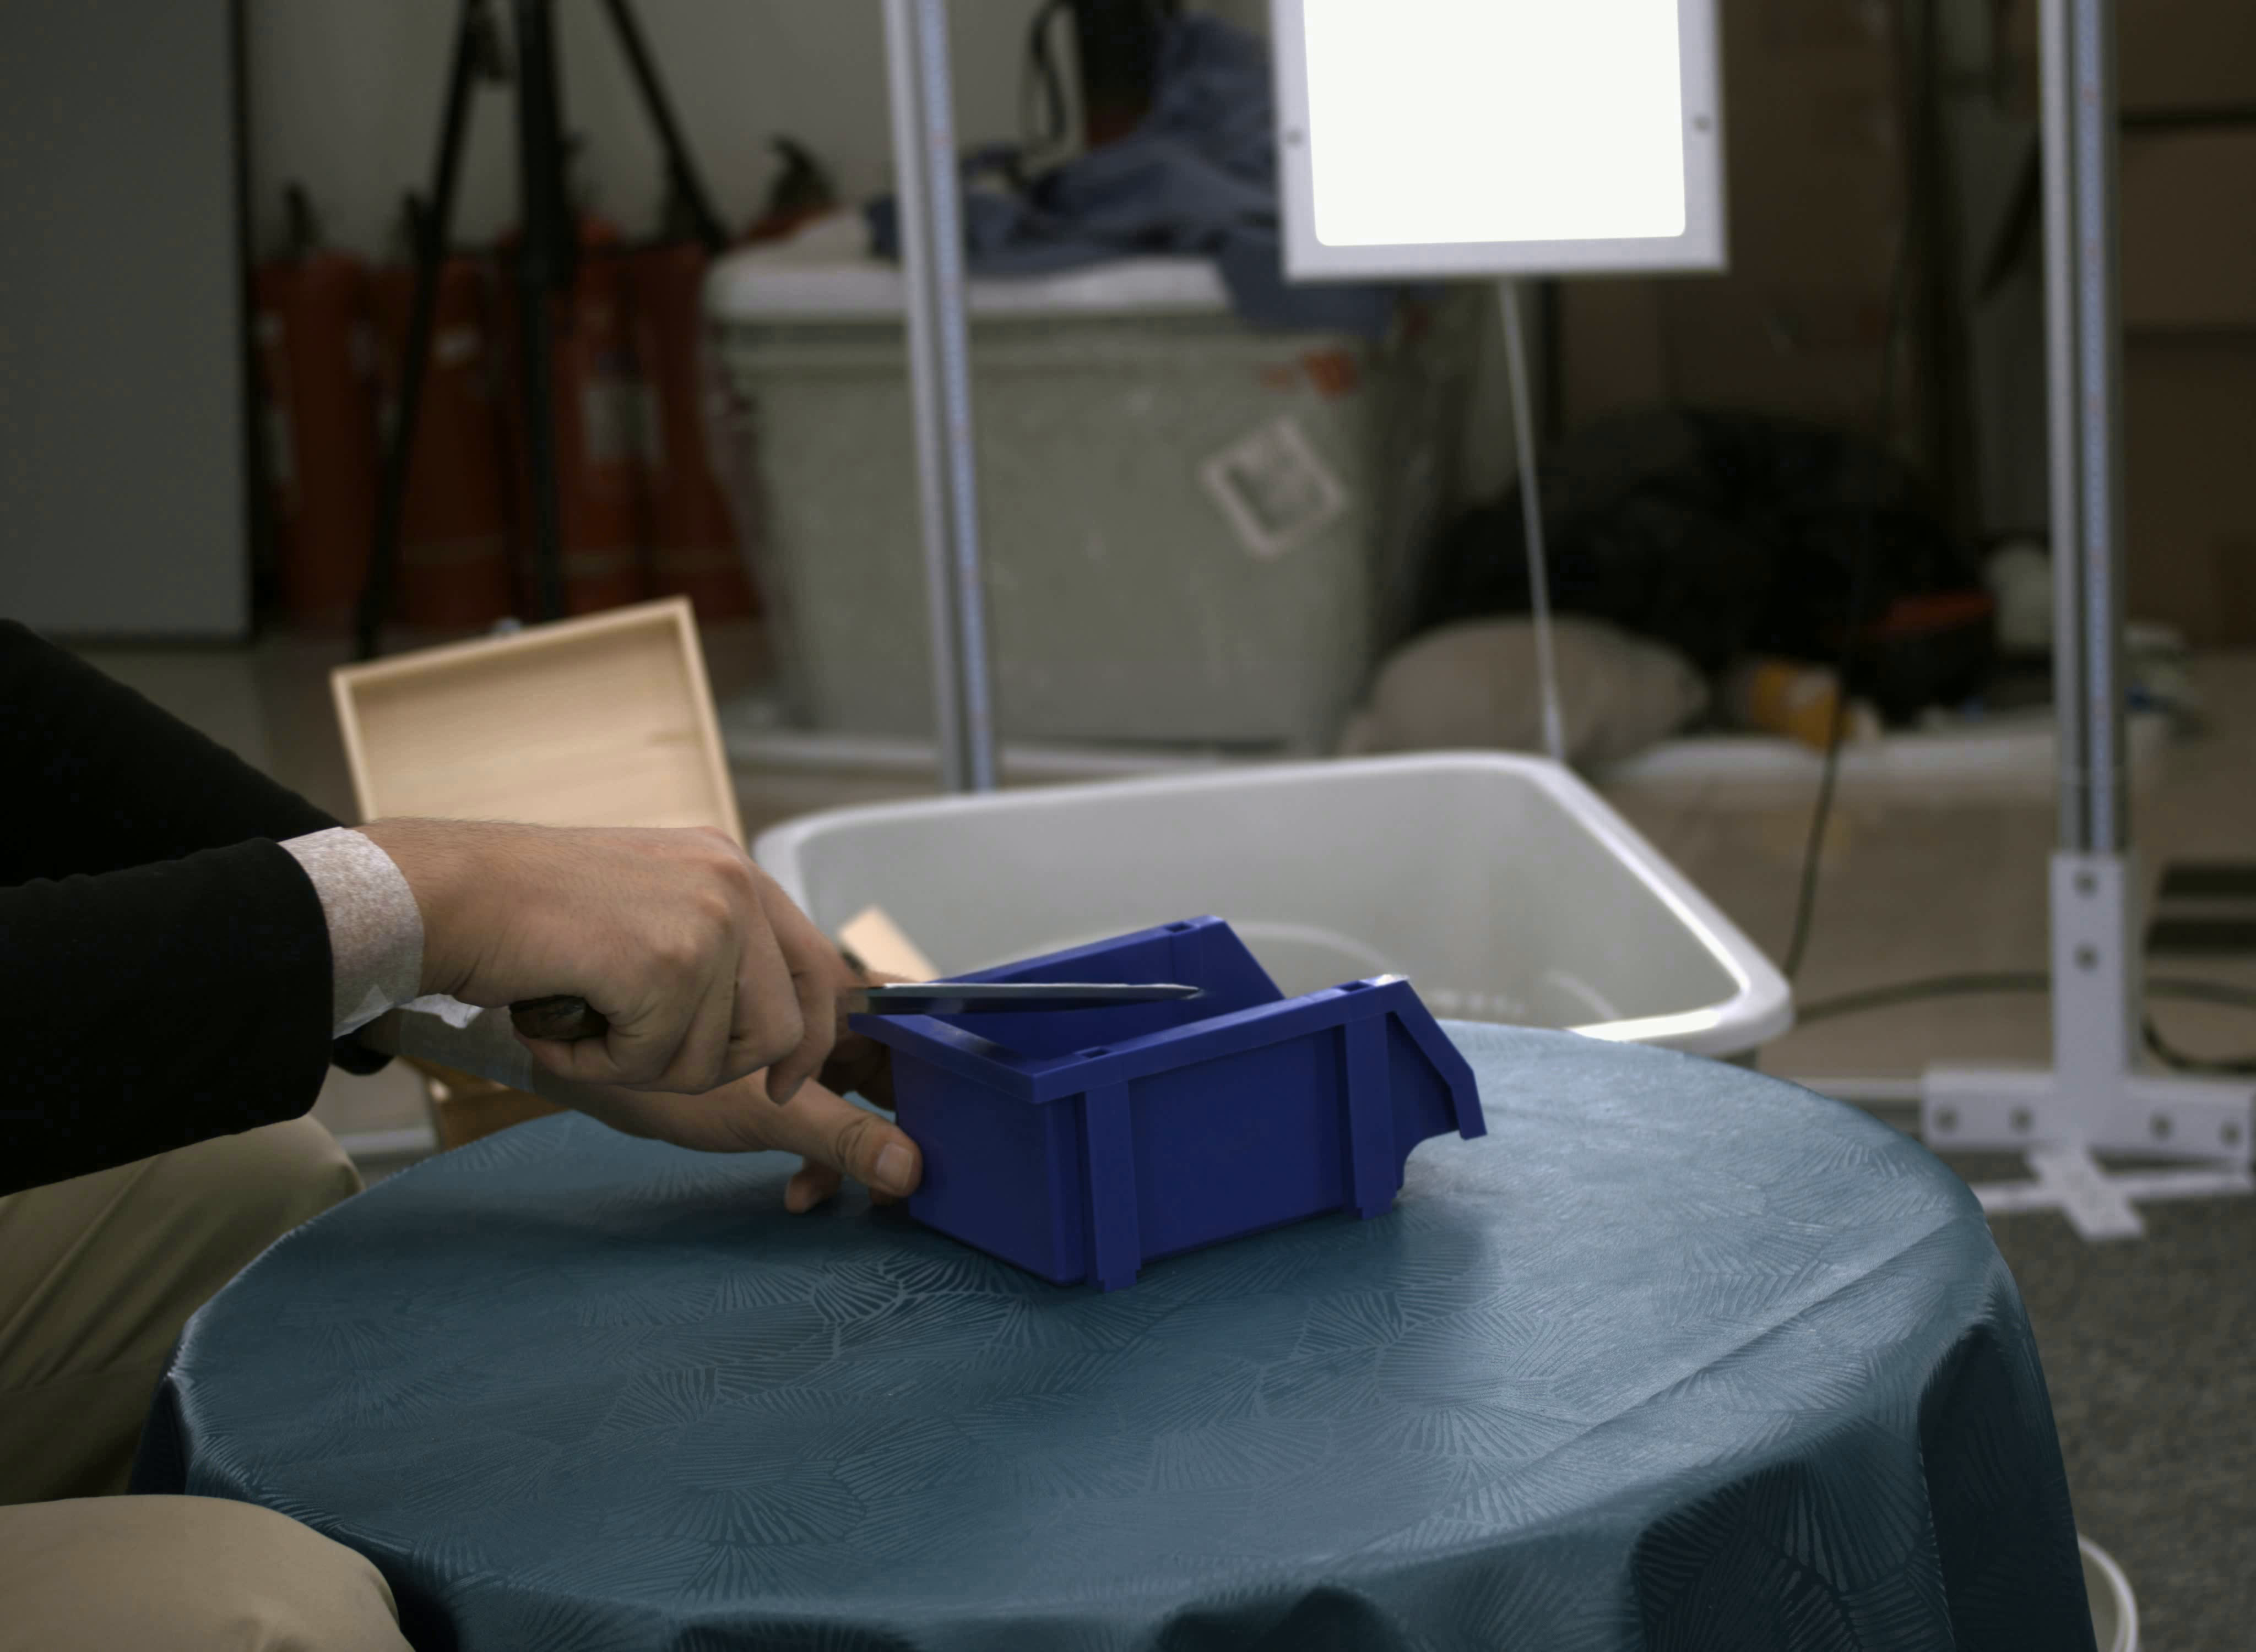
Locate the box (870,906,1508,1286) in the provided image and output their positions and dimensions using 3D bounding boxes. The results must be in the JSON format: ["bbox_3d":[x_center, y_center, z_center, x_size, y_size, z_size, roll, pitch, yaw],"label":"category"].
[{"bbox_3d":[0.021,0.088,1.874,0.175,0.082,0.127,-15,17,-27],"label":"box"}]

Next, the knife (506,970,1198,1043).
[{"bbox_3d":[-0.081,0.056,1.756,0.282,0.020,0.051,0,-12,-44],"label":"knife"}]
